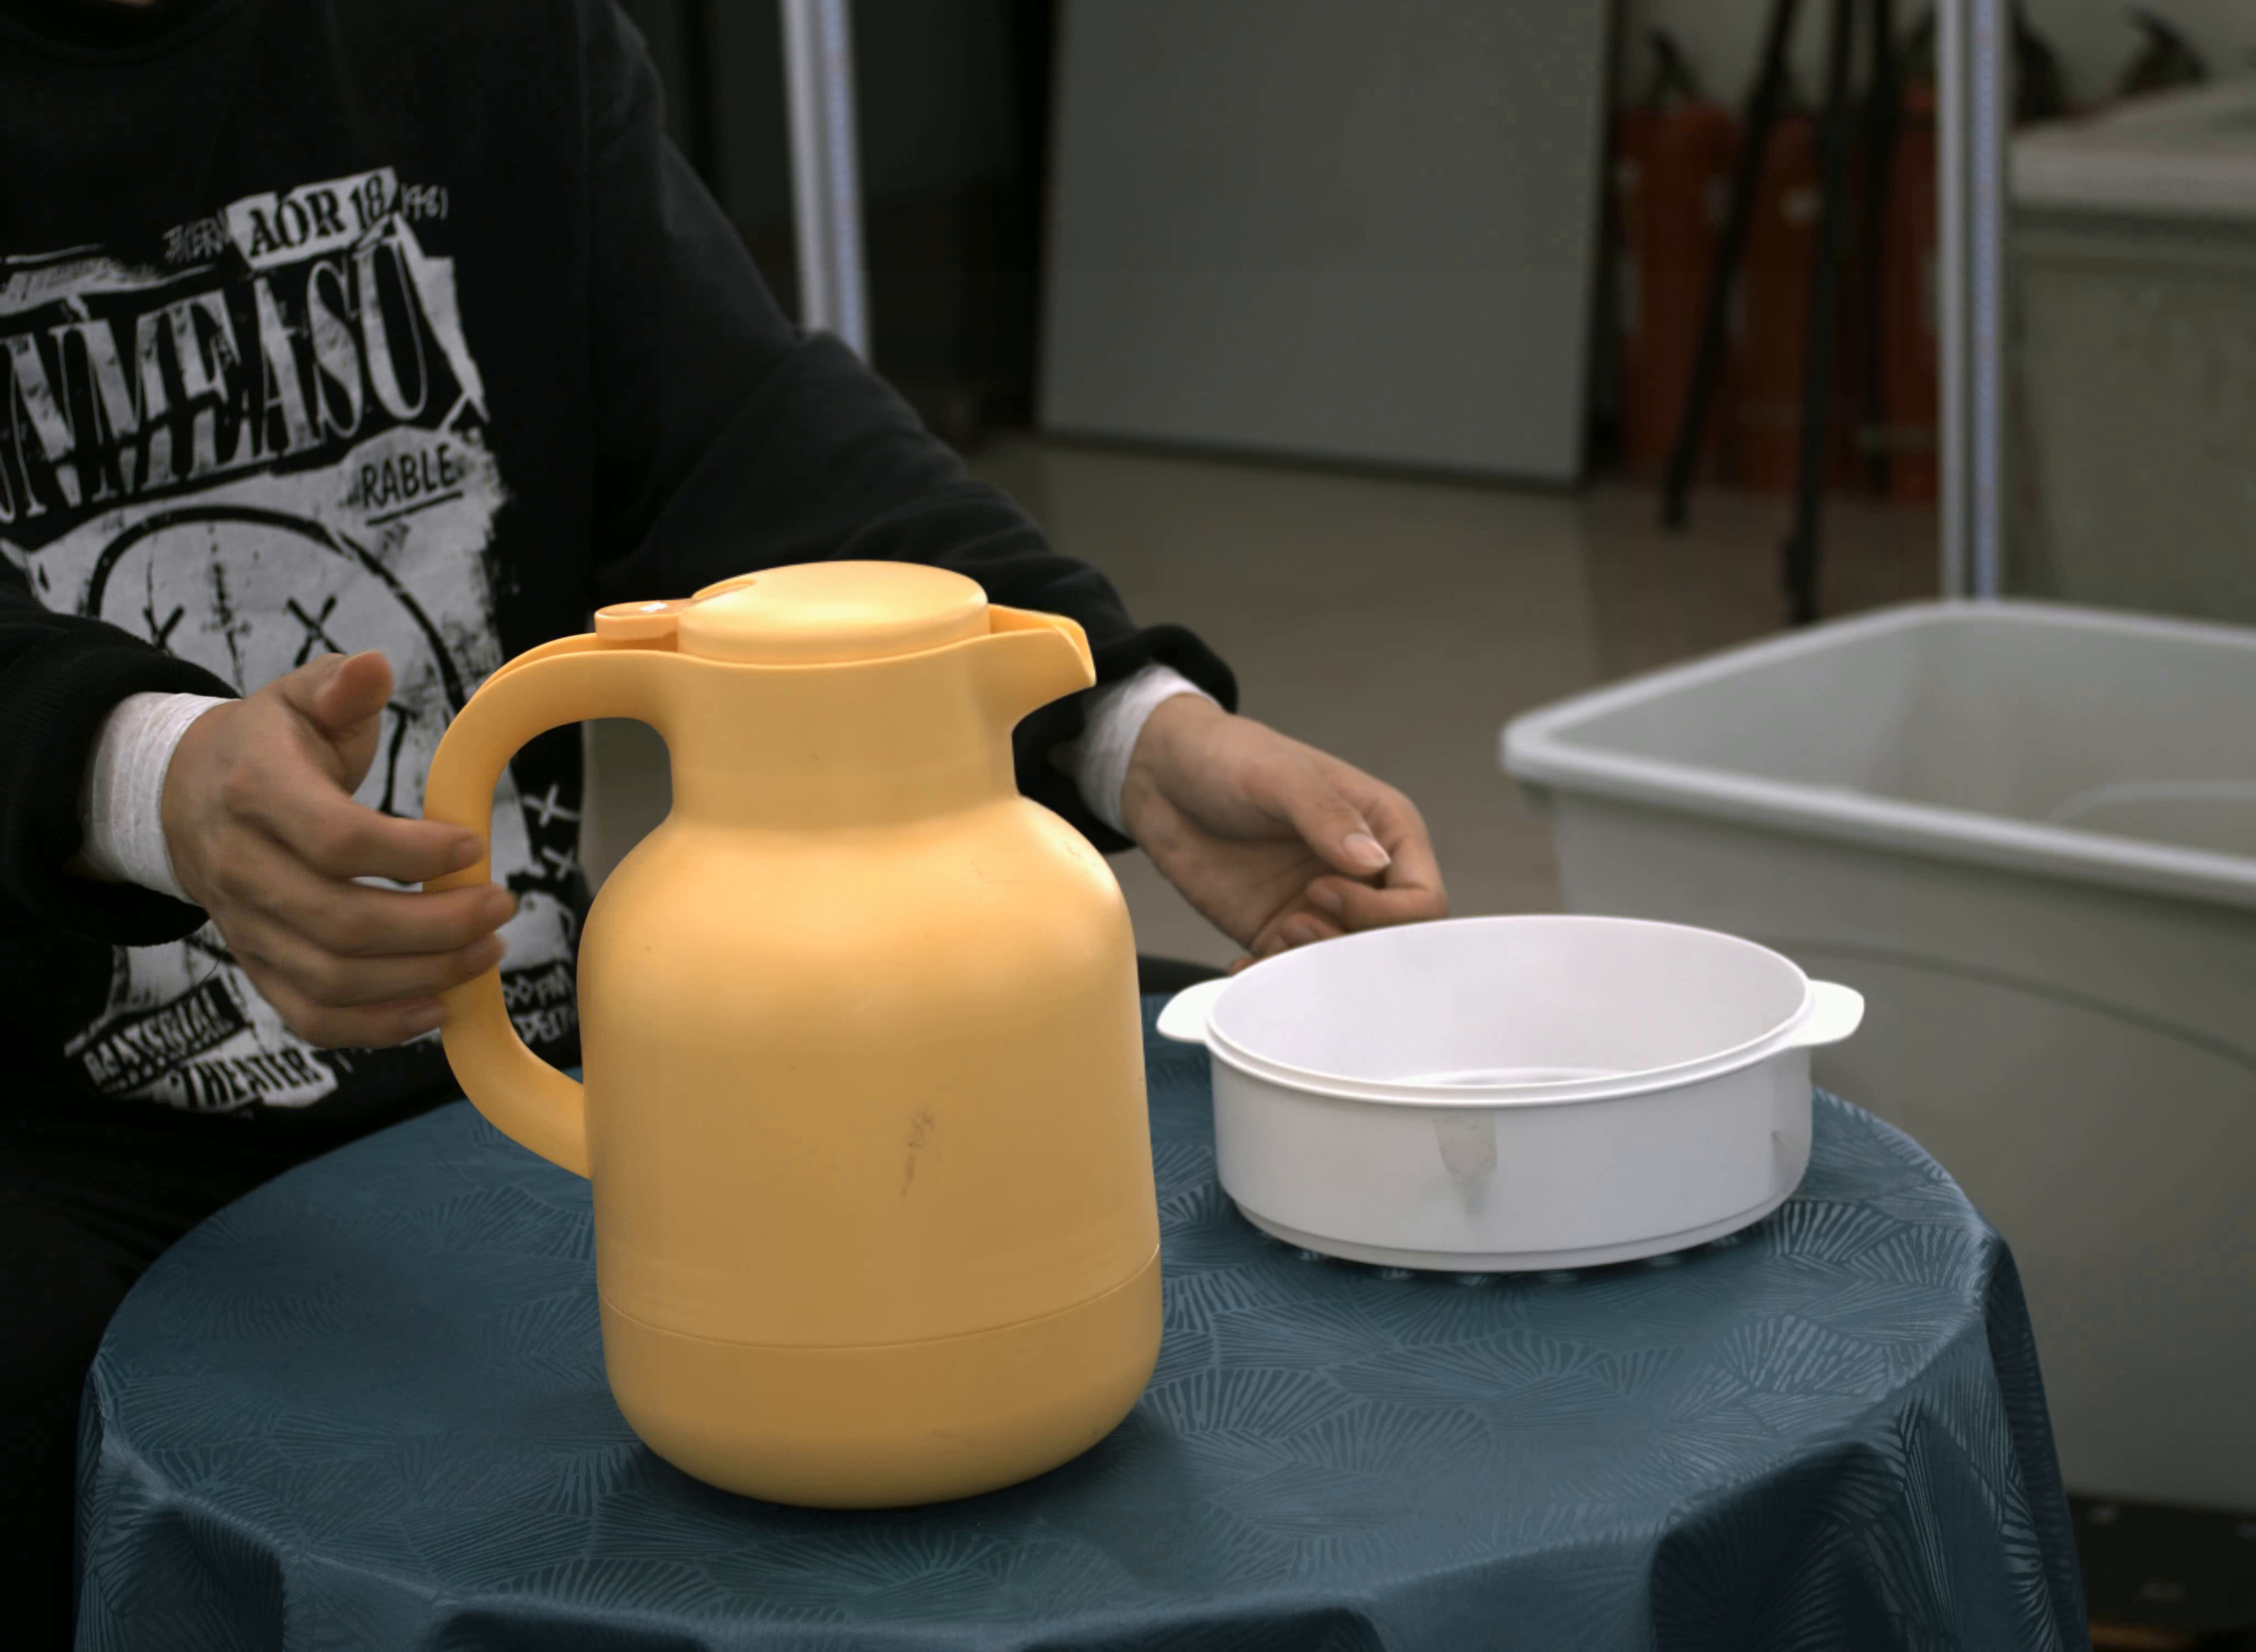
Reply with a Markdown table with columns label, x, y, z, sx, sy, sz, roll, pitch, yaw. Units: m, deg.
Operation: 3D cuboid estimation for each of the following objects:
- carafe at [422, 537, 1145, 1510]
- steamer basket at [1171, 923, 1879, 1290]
| label | x | y | z | sx | sy | sz | roll | pitch | yaw |
| --- | --- | --- | --- | --- | --- | --- | --- | --- | --- |
| carafe | -0.097 | 0.052 | 1.534 | 0.200 | 0.263 | 0.163 | 0 | 11 | 8 |
| steamer basket | 0.129 | 0.090 | 1.737 | 0.229 | 0.070 | 0.200 | -1 | 15 | 15 |
